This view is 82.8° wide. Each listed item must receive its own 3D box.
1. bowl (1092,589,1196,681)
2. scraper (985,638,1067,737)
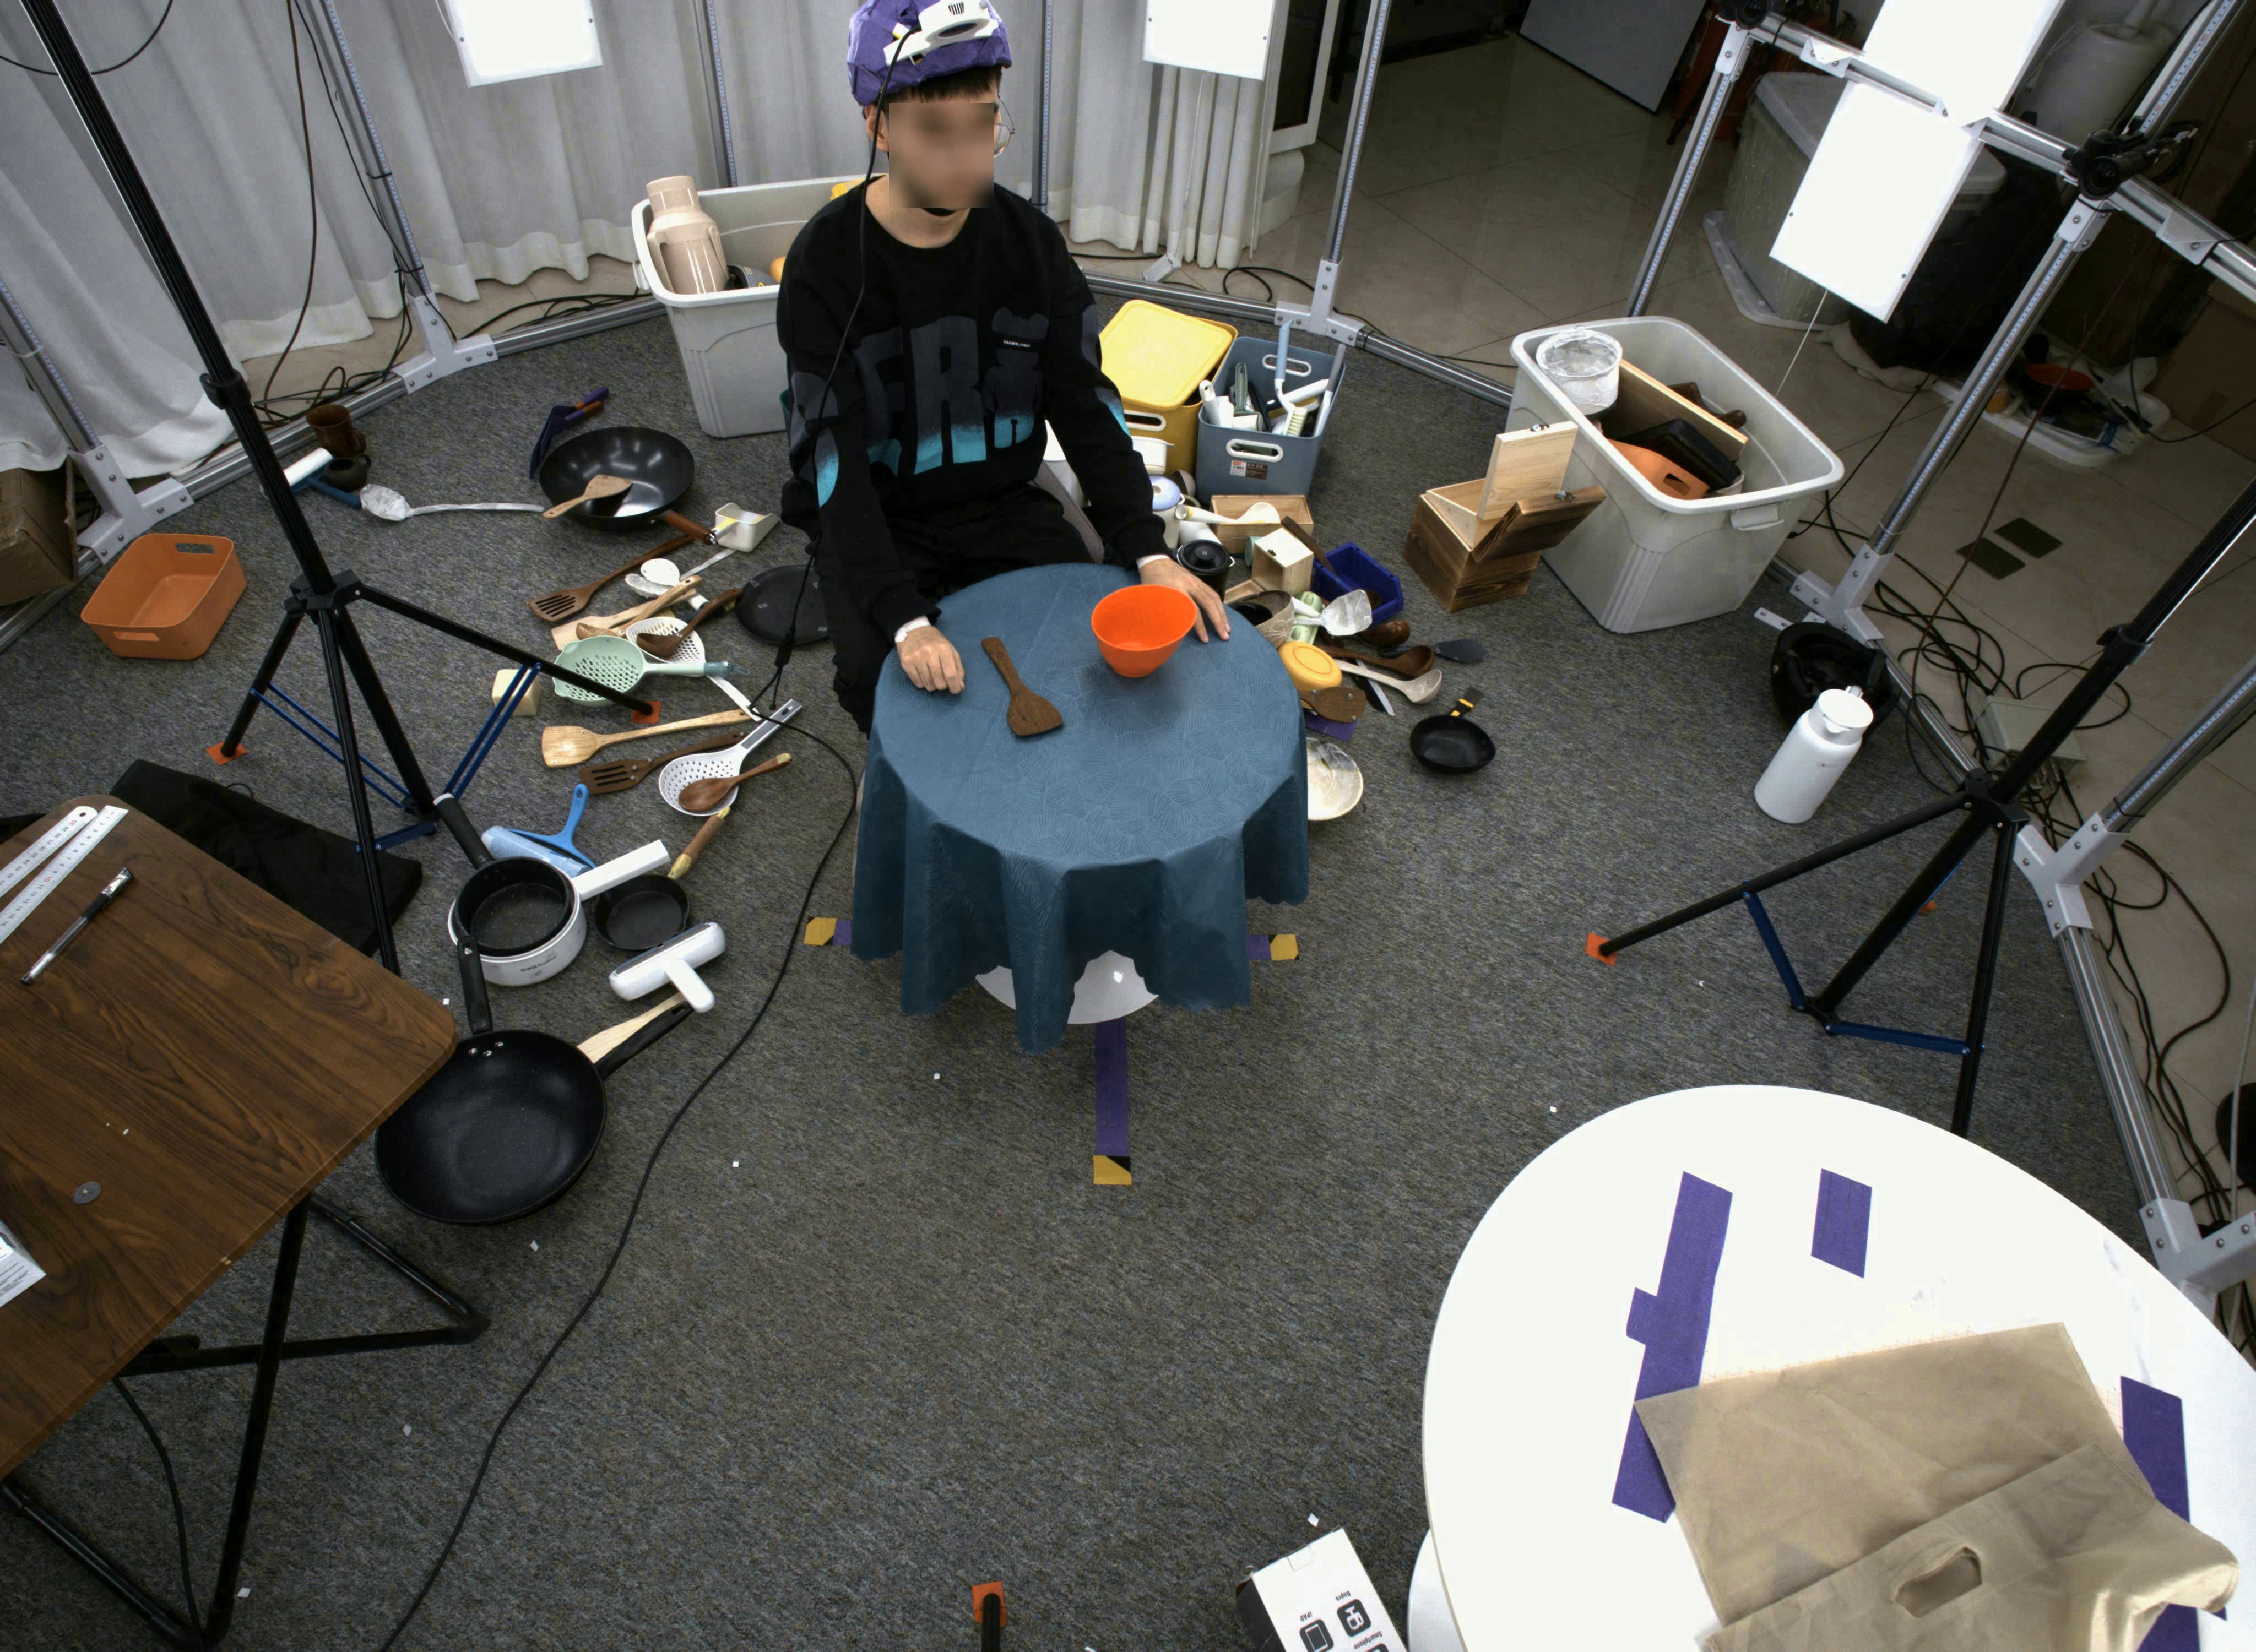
[{"bbox_3d":[0.021,-0.266,1.854,0.148,0.102,0.152,1,49,-1],"label":"bowl"},{"bbox_3d":[-0.158,-0.201,1.844,0.076,0.010,0.216,-16,51,-18],"label":"scraper"}]
